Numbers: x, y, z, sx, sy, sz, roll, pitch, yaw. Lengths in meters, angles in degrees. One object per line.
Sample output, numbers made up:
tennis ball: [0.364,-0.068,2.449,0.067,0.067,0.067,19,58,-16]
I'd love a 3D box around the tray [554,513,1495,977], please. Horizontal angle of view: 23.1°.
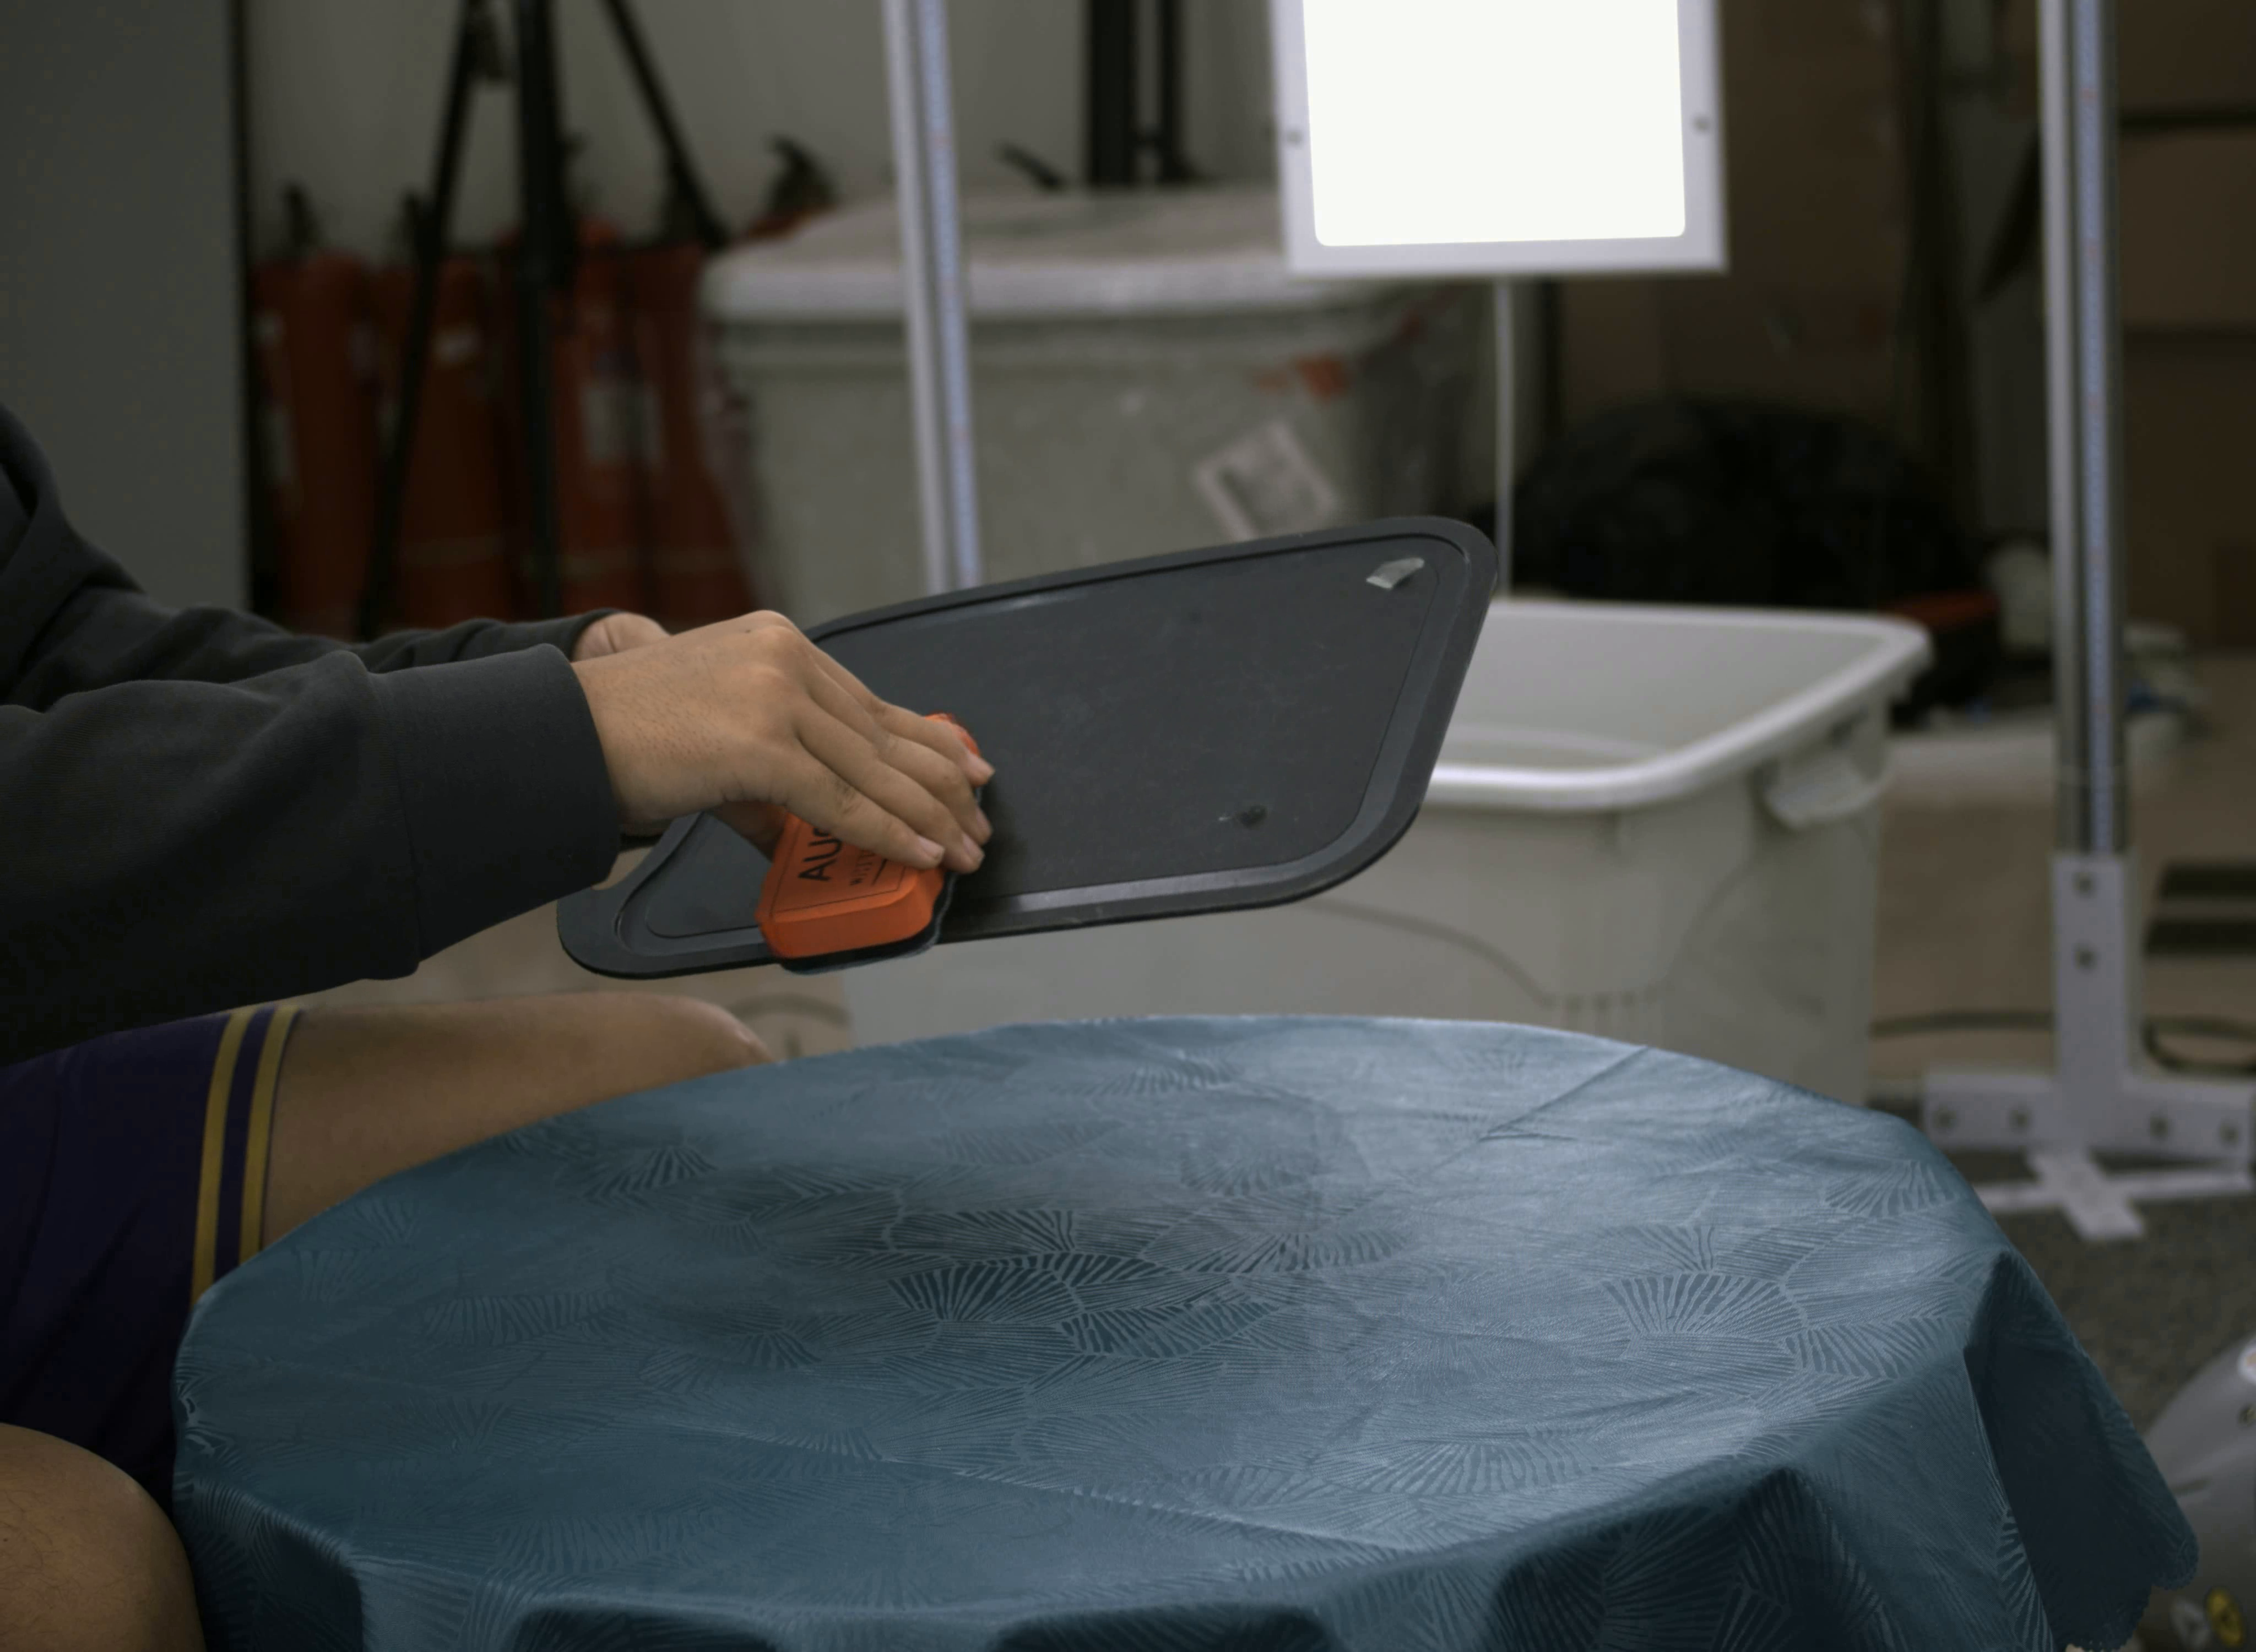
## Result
tray: [-0.042,-0.028,1.834,0.331,0.010,0.208,-8,35,26]

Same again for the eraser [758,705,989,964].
eraser: [-0.082,0.002,1.790,0.060,0.023,0.107,-12,32,19]
